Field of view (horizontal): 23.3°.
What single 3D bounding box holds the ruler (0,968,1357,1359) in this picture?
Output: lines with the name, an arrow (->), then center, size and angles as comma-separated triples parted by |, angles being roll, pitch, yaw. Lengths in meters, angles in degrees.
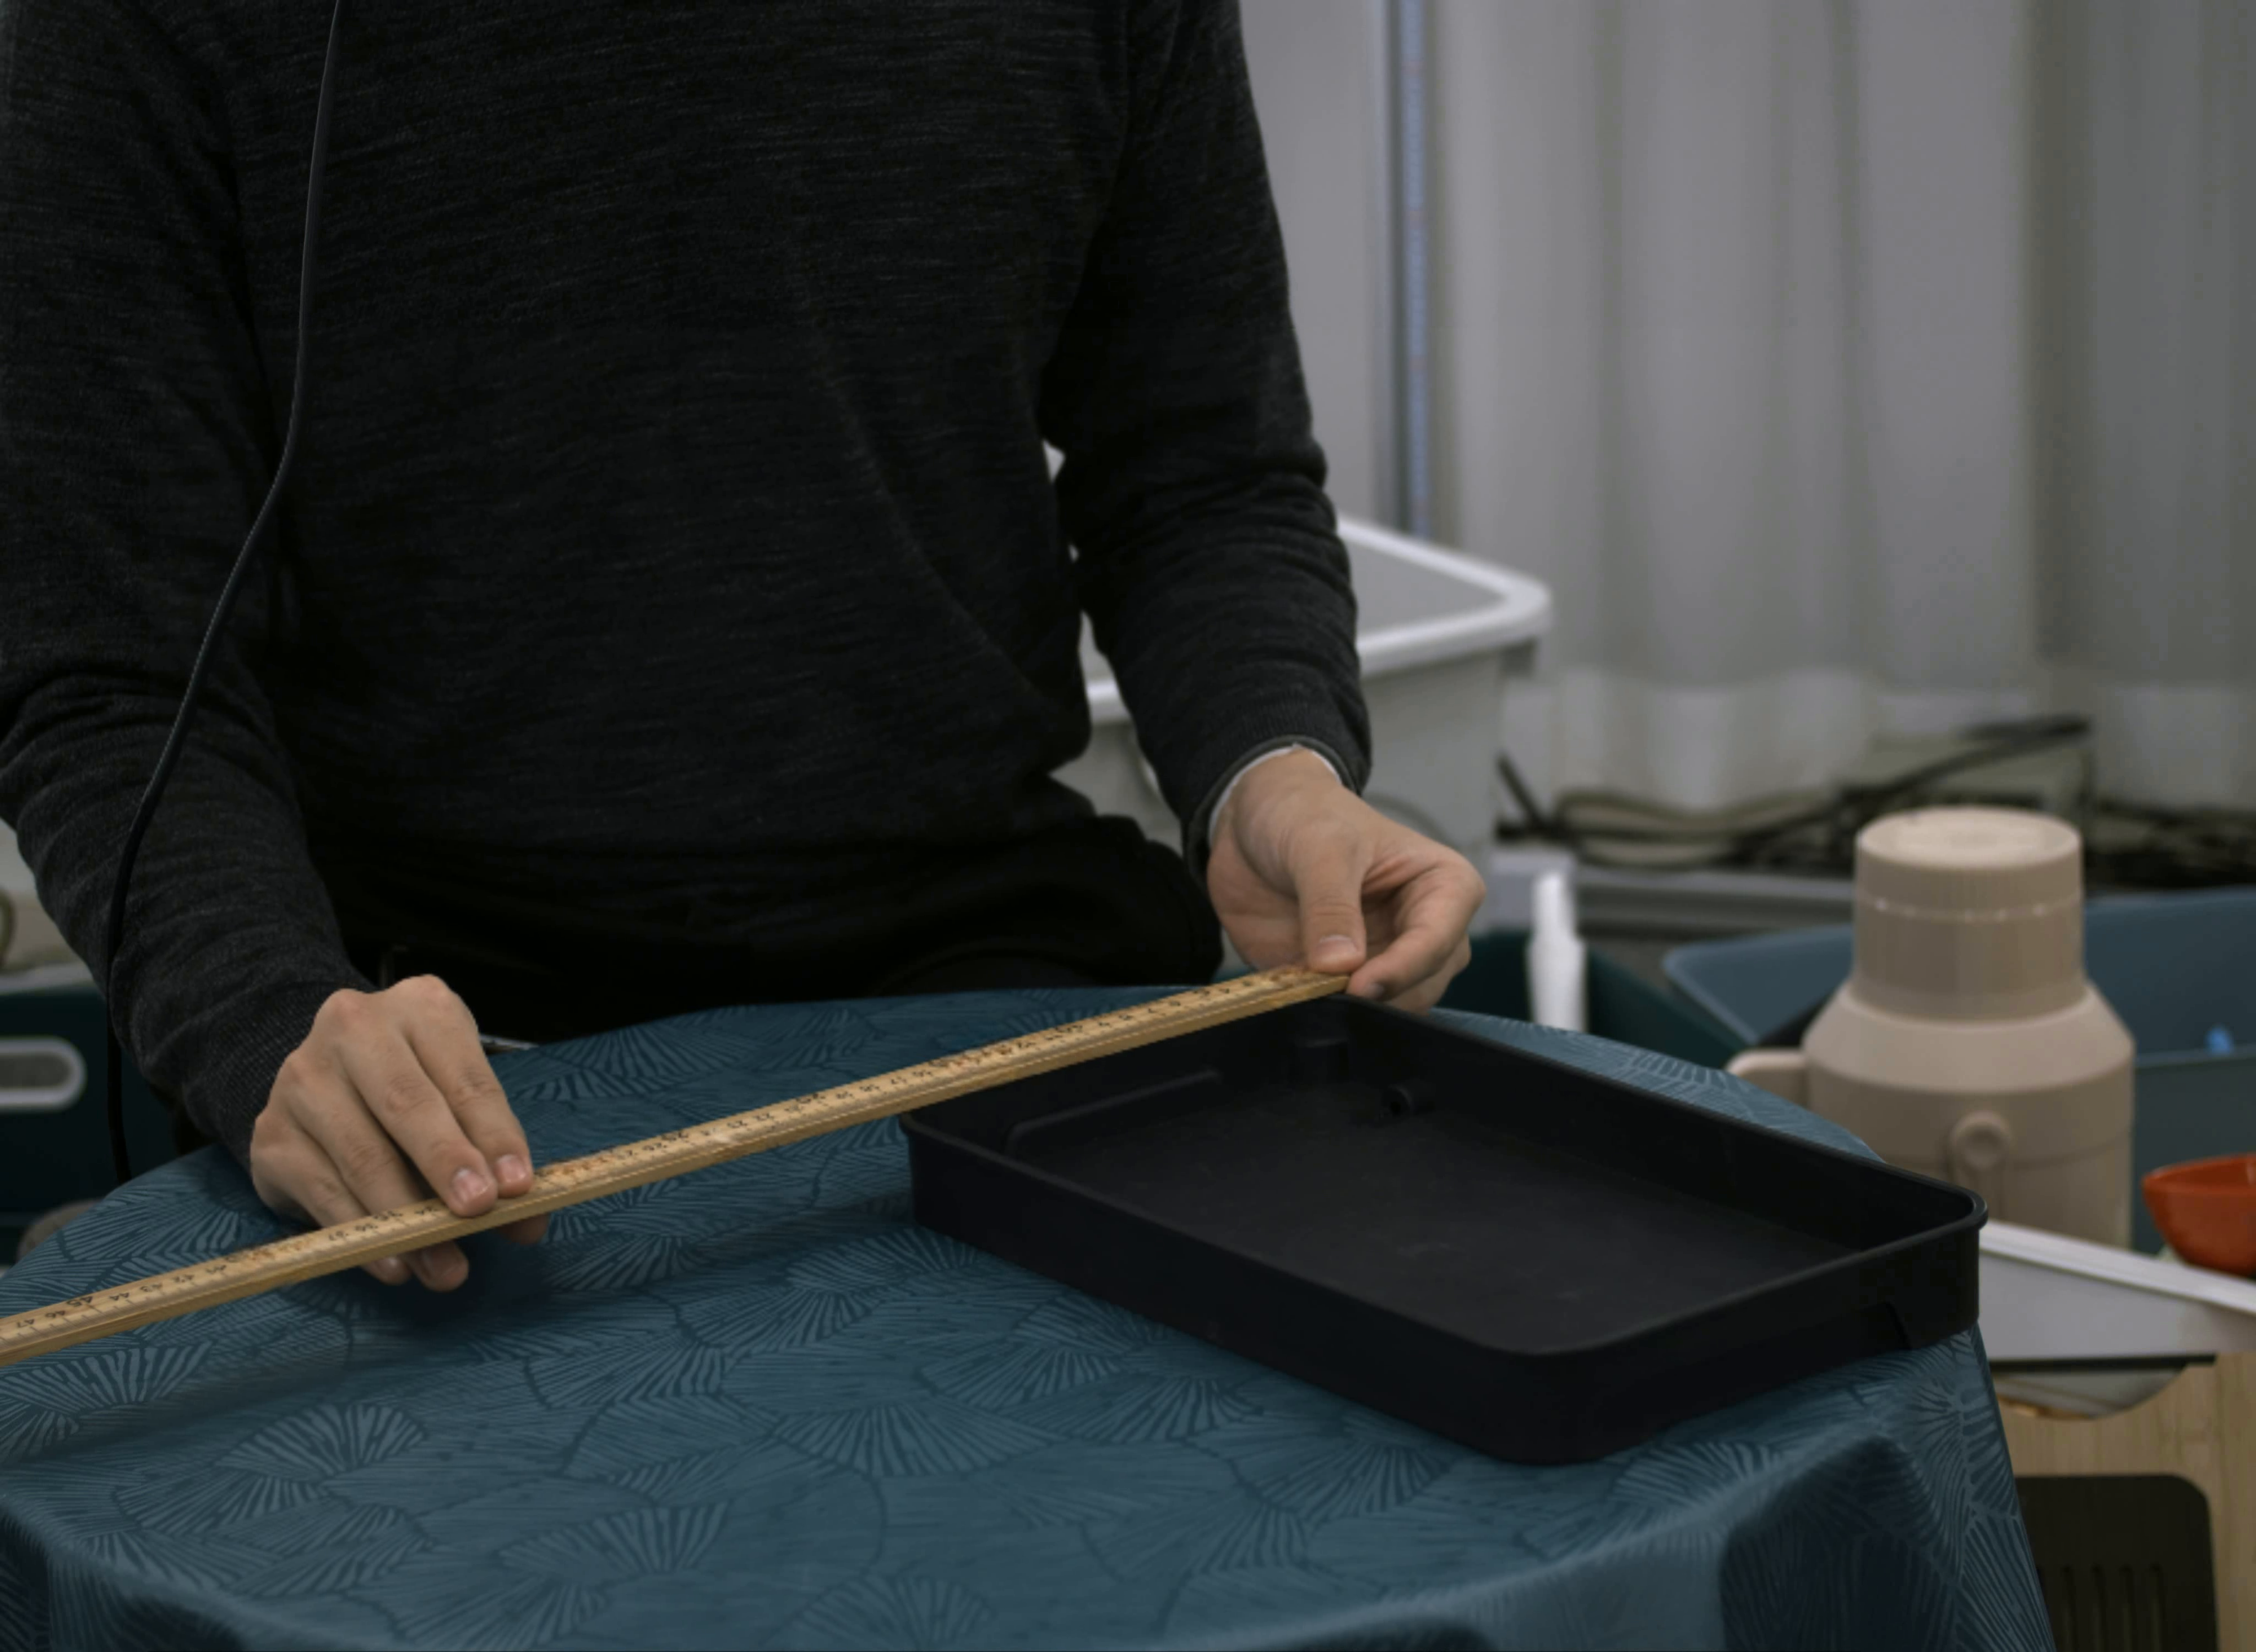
ruler -> -0.132, 0.099, 1.663 | 0.499, 0.006, 0.027 | -14, 15, -34

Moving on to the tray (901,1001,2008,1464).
tray -> 0.091, 0.115, 1.626 | 0.184, 0.037, 0.320 | -14, 17, -36
